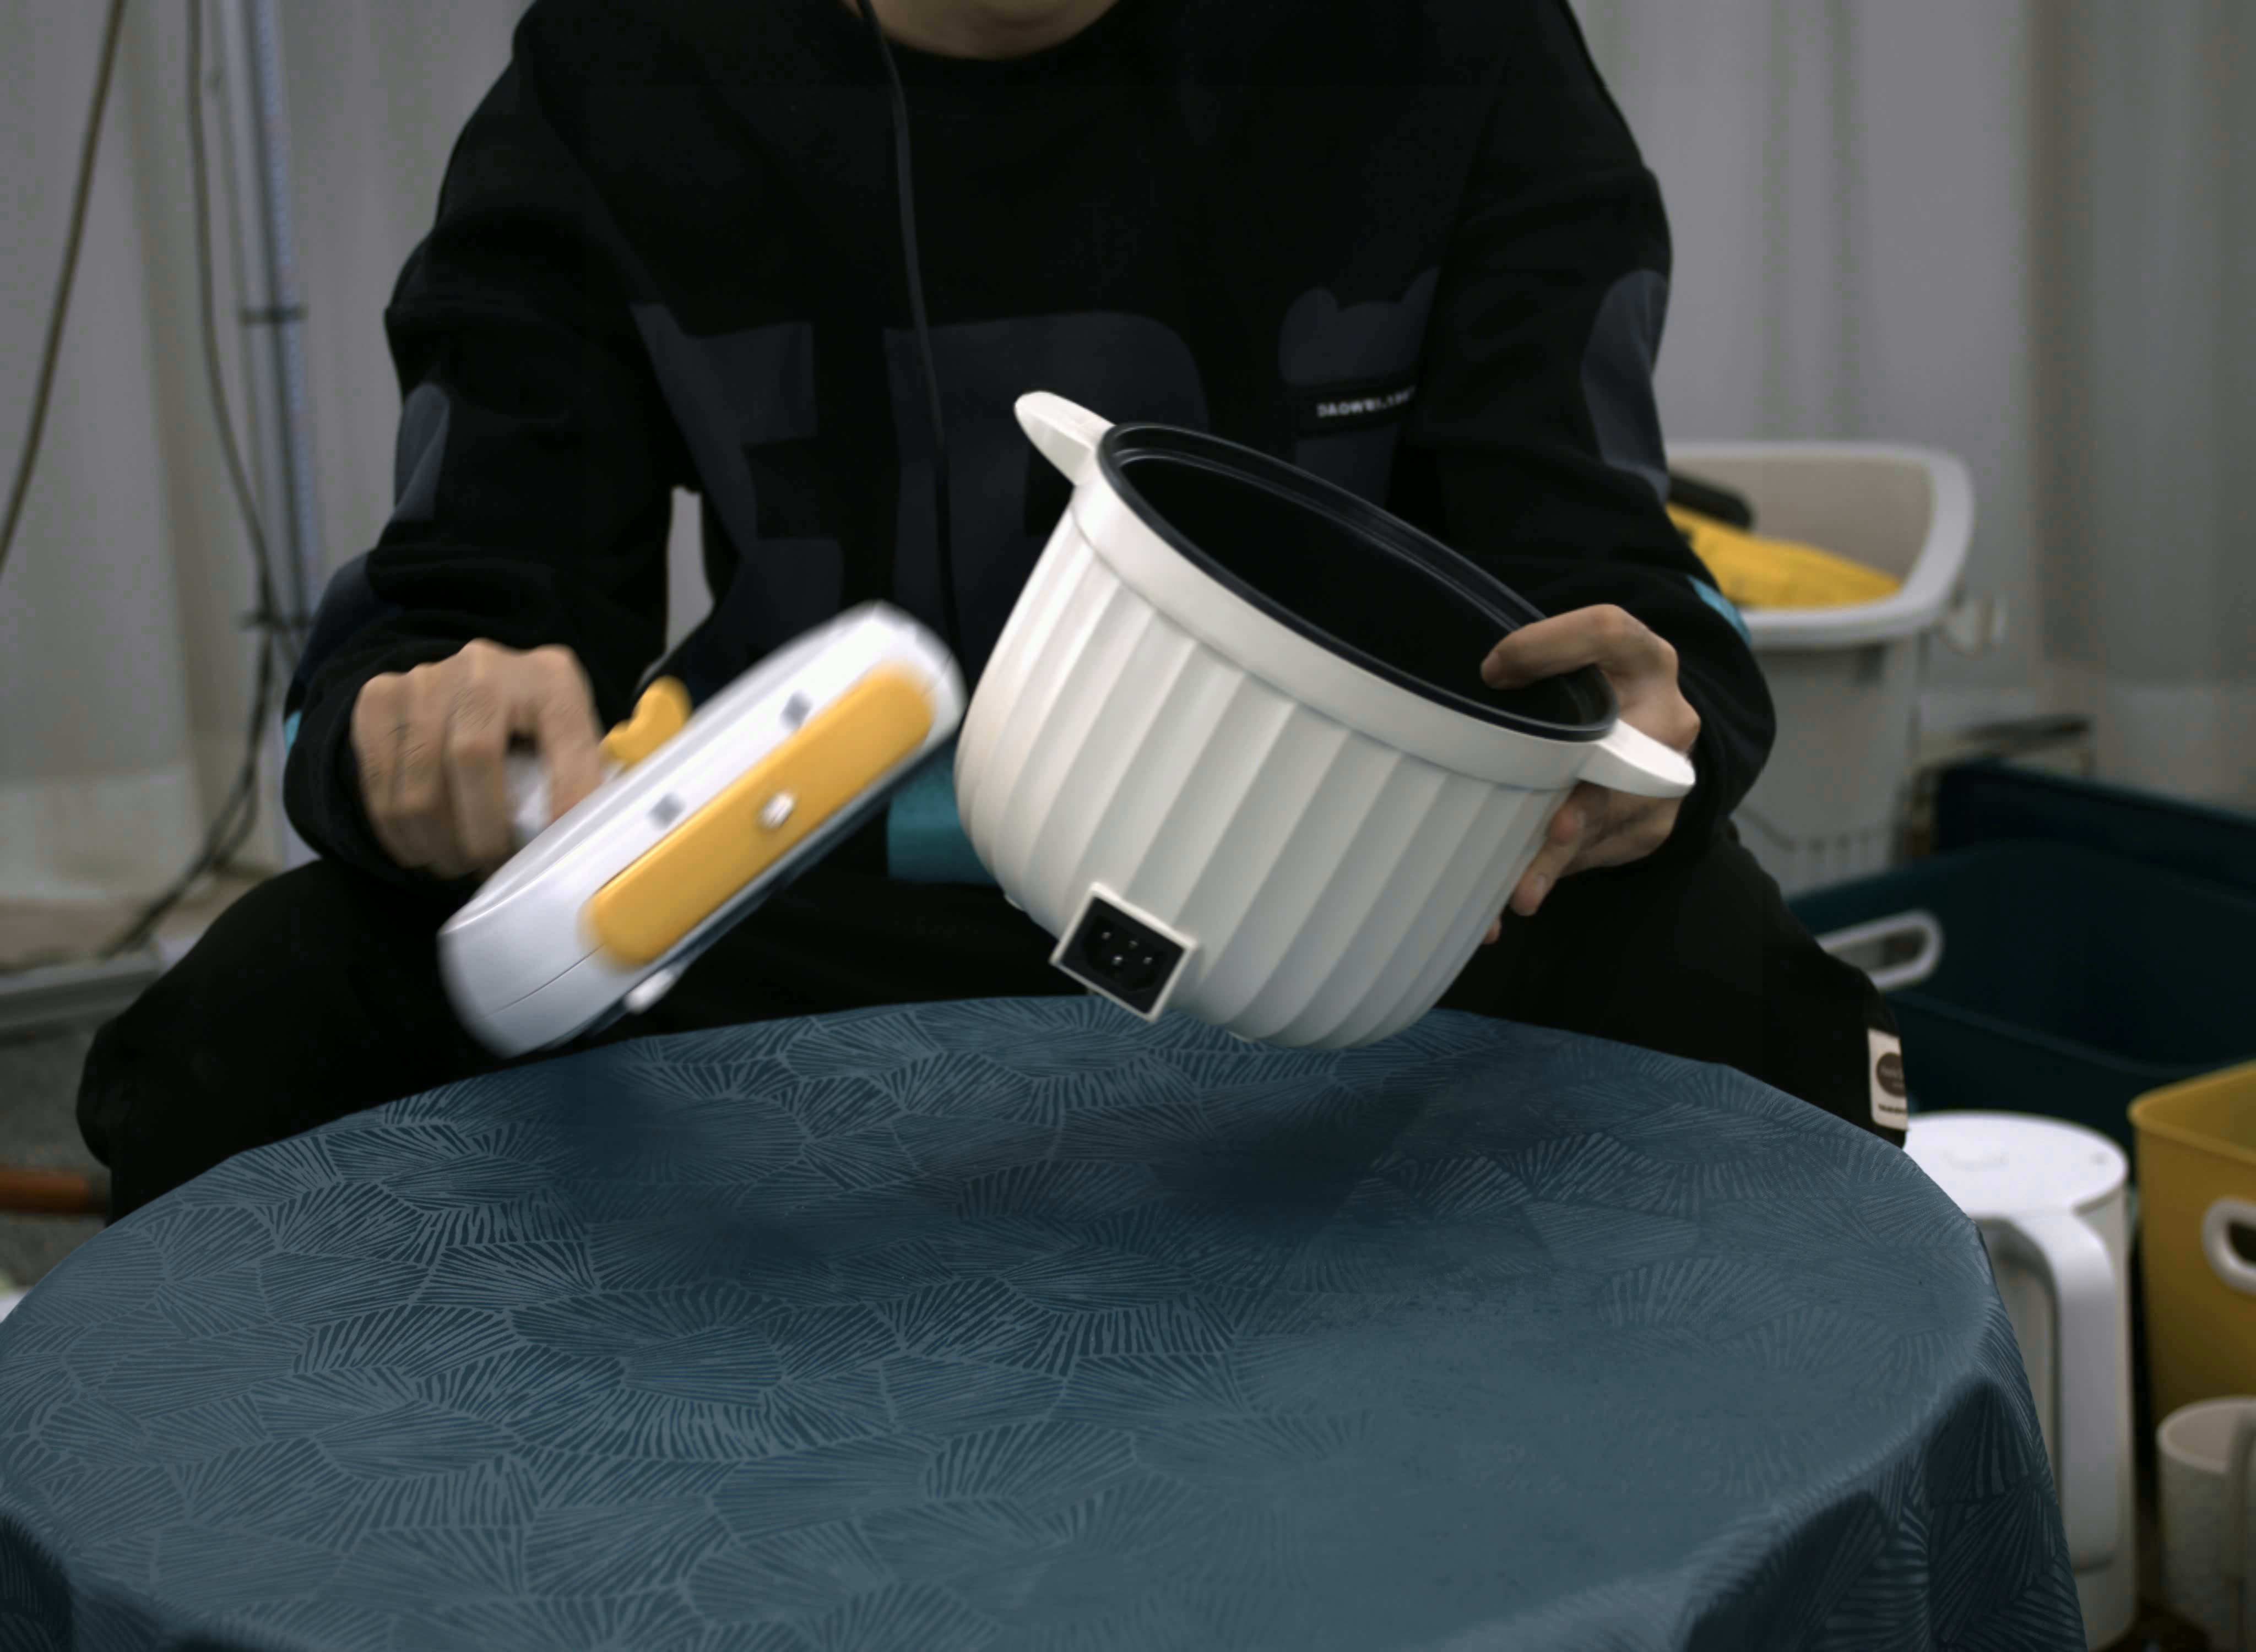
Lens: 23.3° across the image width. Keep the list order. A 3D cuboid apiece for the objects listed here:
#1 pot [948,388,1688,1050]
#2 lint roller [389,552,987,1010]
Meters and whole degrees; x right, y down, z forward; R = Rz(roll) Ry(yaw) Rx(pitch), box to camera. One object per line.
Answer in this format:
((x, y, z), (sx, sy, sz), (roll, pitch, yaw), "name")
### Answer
((0.039, -0.024, 1.705), (0.240, 0.142, 0.191), (32, 20, 5), "pot")
((-0.160, -0.012, 1.730), (0.192, 0.073, 0.194), (-12, 30, 48), "lint roller")
